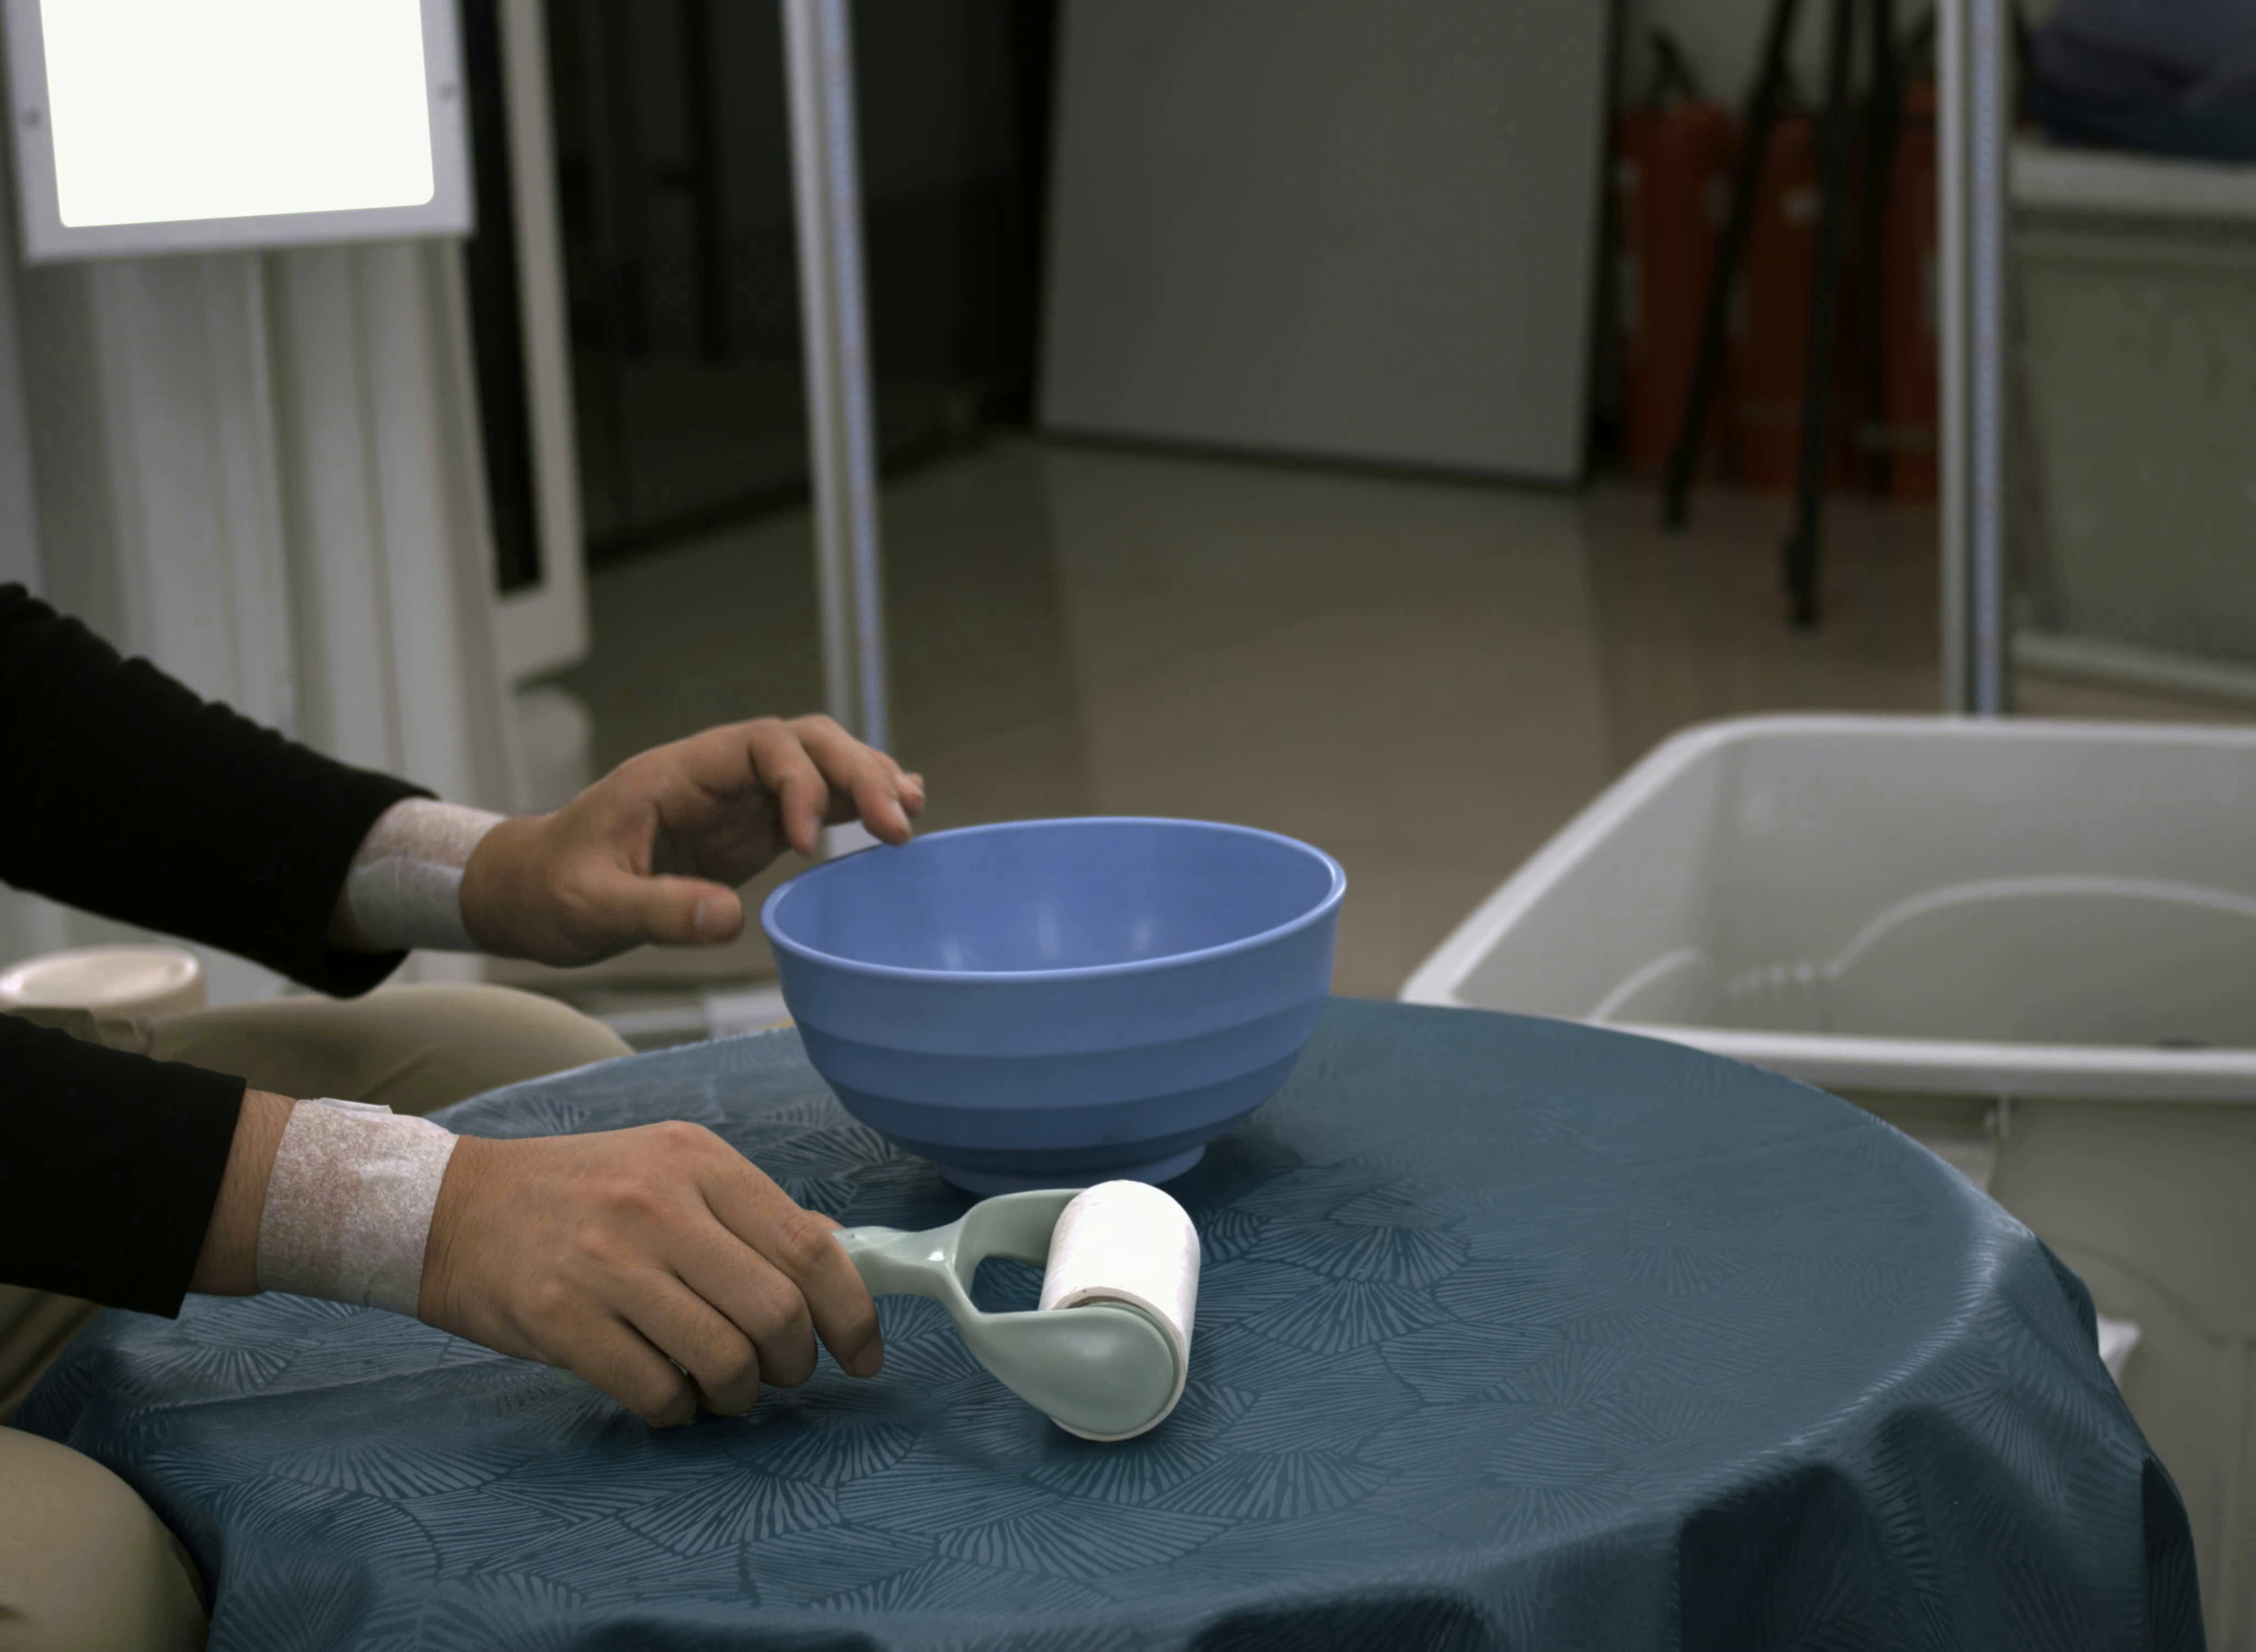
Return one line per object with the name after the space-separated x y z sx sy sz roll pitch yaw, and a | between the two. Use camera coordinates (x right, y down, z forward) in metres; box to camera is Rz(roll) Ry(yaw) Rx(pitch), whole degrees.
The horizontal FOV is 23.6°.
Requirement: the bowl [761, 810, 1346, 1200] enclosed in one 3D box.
-0.022 0.066 1.797 0.194 0.096 0.197 -4 15 0 | bowl

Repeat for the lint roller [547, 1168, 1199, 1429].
-0.075 0.141 1.599 0.195 0.049 0.116 -1 15 4 | lint roller
